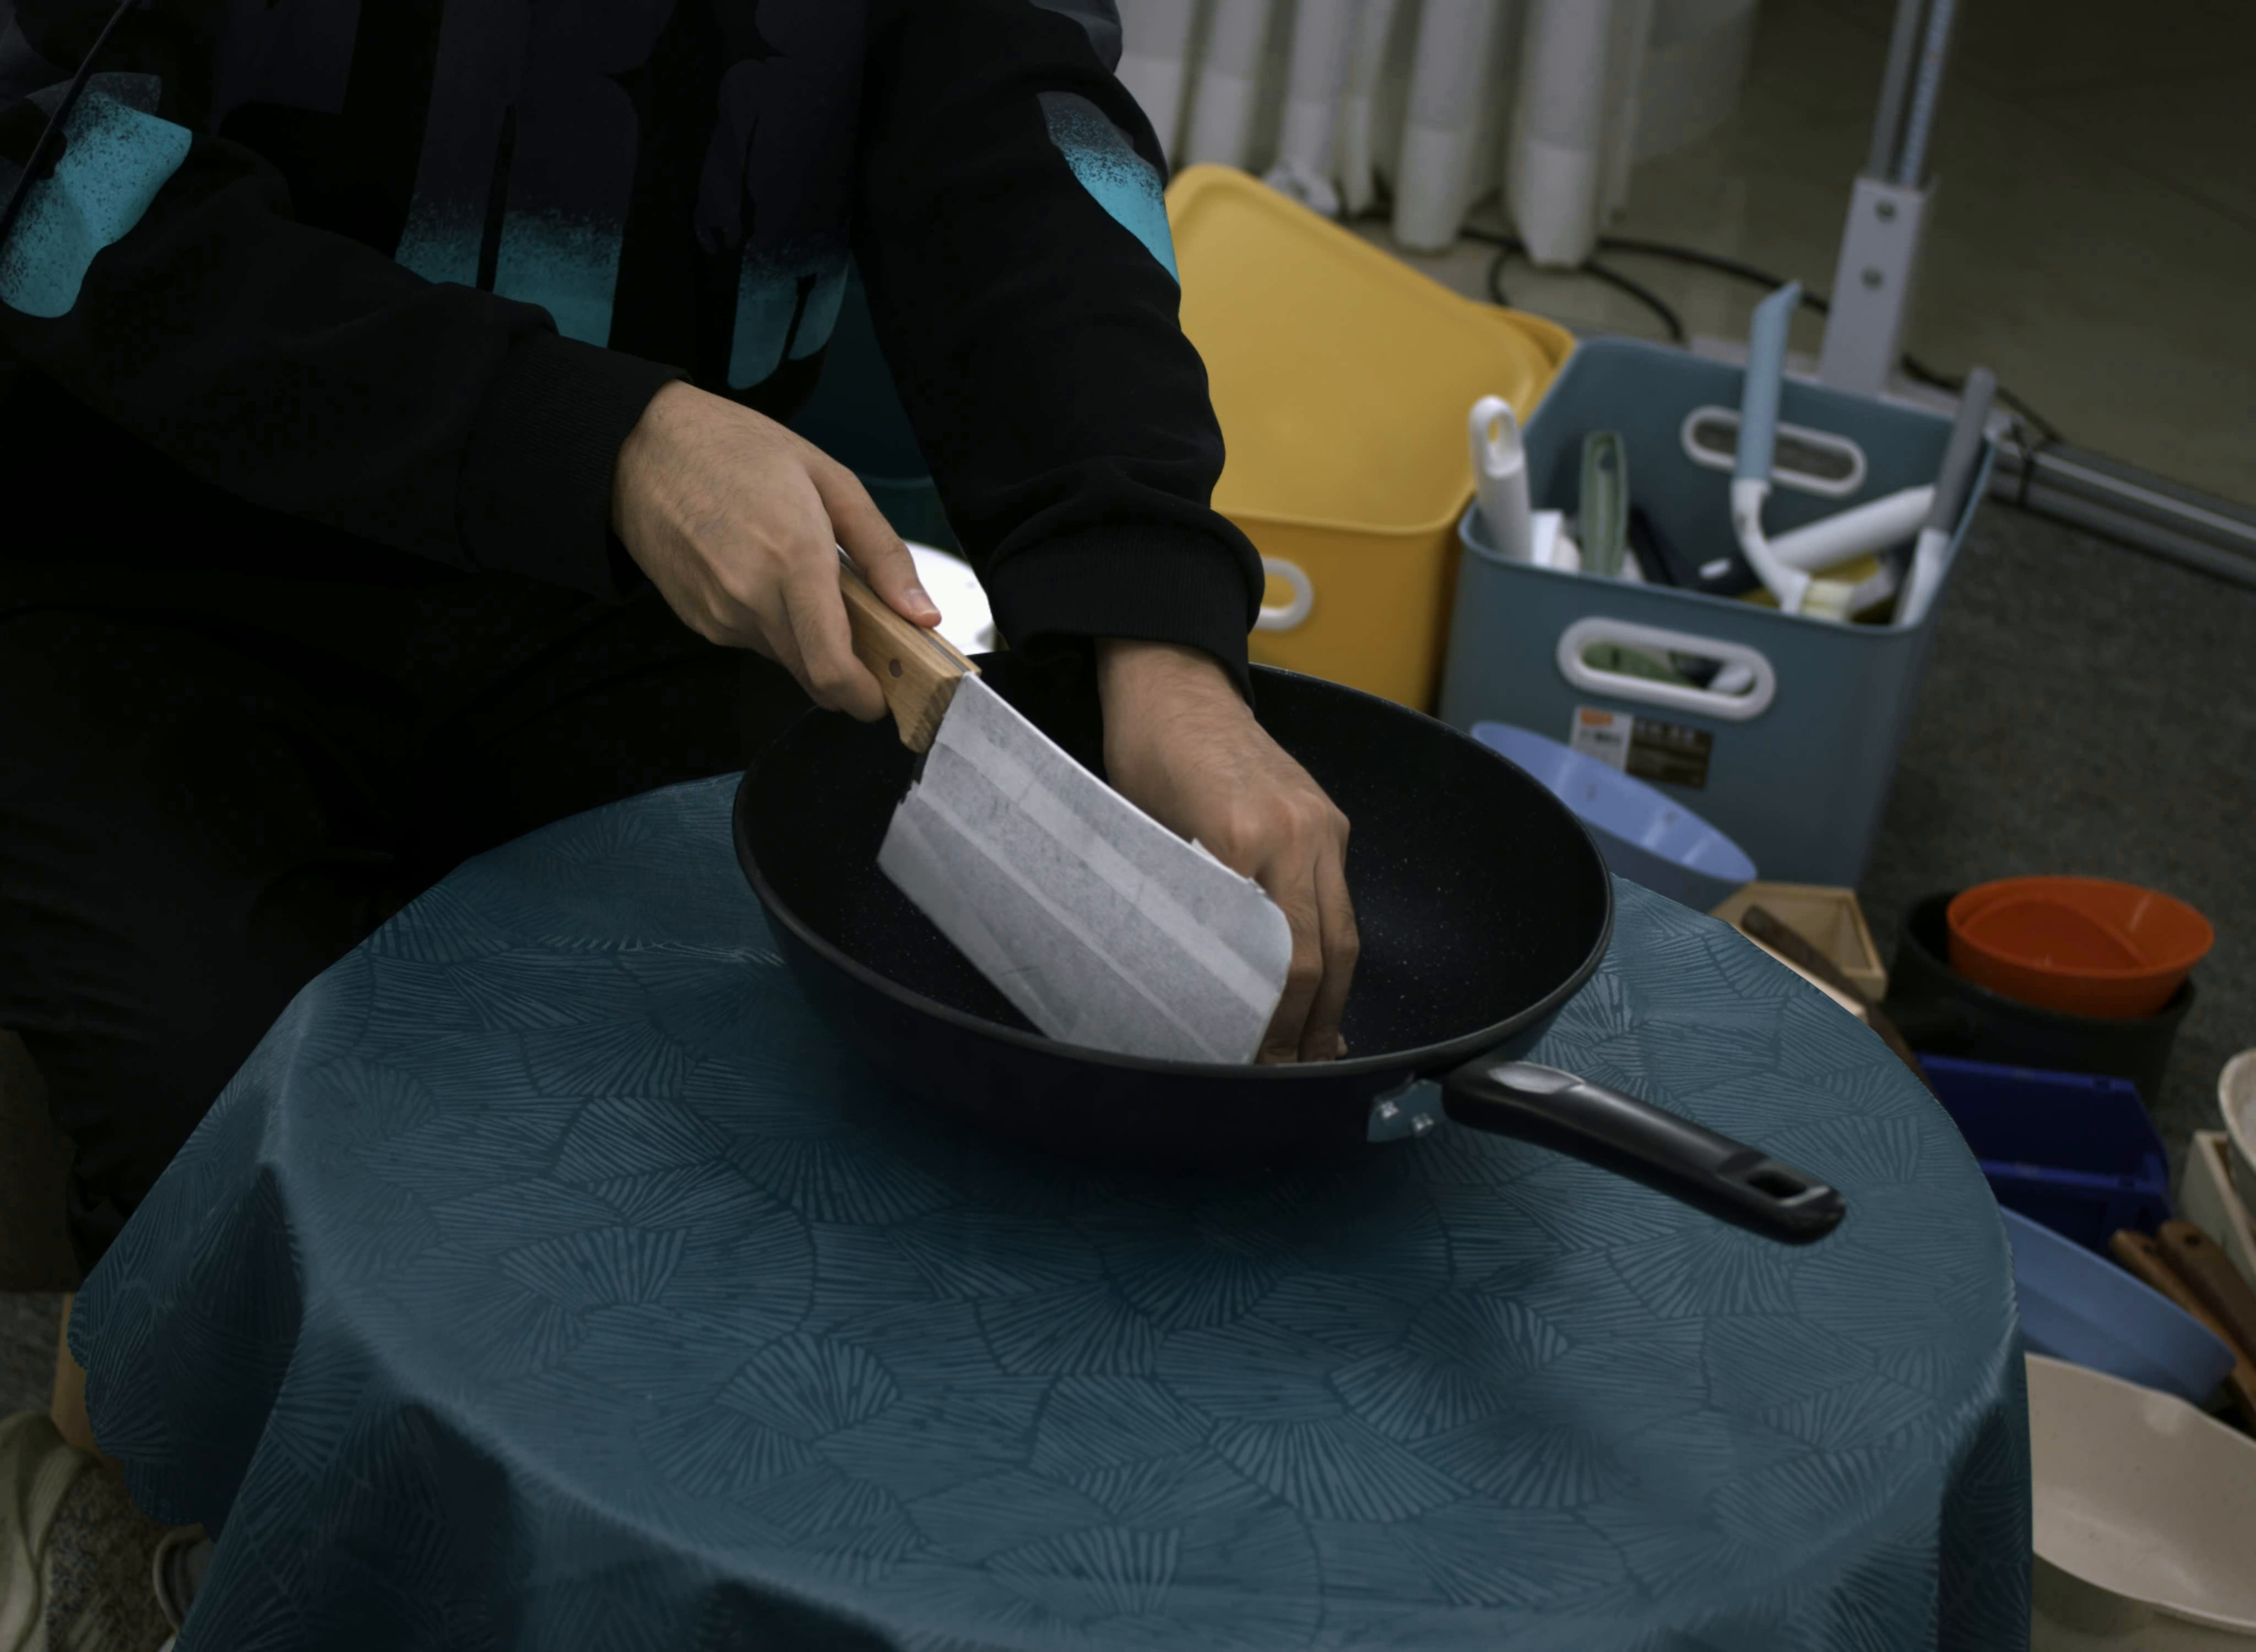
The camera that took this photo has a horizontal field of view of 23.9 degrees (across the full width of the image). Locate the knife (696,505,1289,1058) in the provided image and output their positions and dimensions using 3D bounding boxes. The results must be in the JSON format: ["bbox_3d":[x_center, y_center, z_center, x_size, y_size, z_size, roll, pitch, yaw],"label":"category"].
[{"bbox_3d":[-0.051,-0.013,1.846,0.021,0.114,0.318,-4,40,-47],"label":"knife"}]

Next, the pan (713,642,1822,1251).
[{"bbox_3d":[0.058,0.067,1.811,0.308,0.111,0.481,-16,34,-35],"label":"pan"}]
